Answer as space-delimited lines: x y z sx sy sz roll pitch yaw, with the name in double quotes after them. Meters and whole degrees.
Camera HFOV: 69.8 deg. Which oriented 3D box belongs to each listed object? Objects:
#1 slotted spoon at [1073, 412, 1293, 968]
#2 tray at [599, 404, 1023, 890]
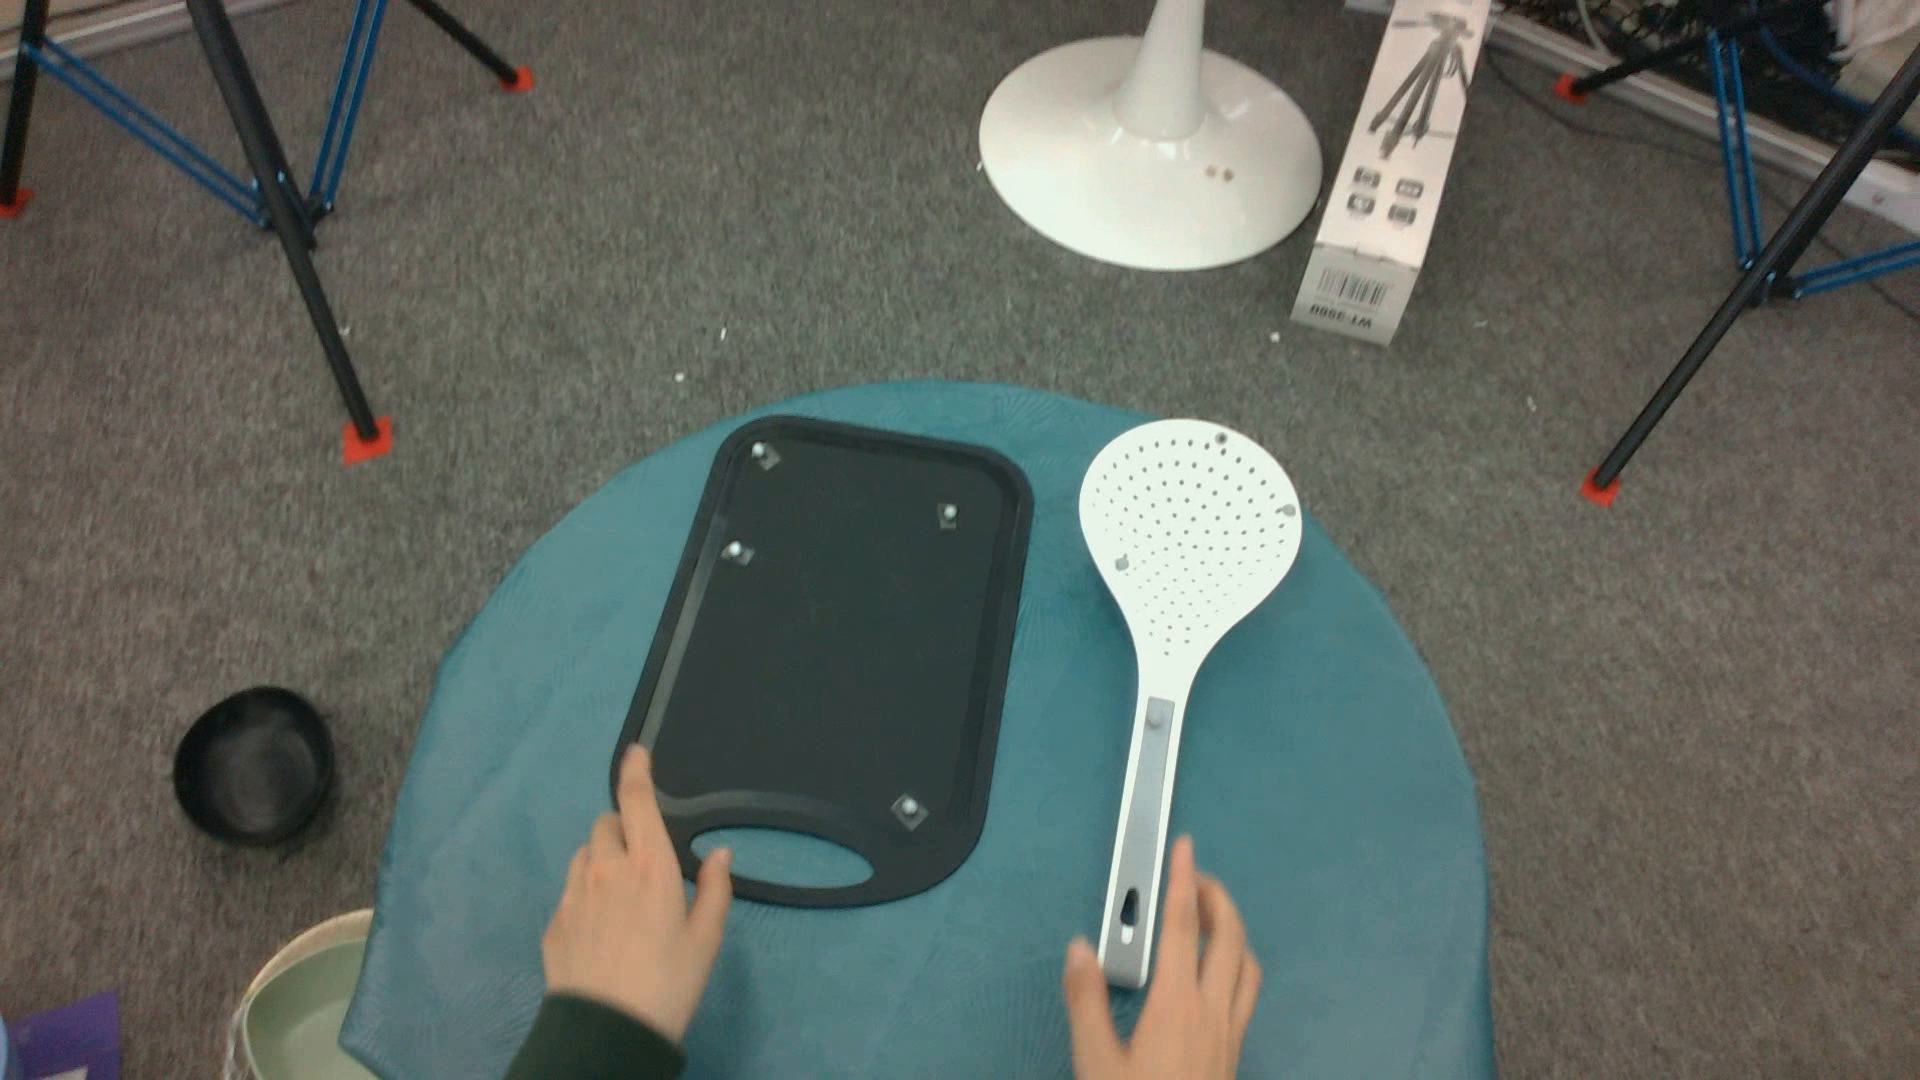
0.114 0.071 0.795 0.136 0.045 0.351 11 55 5 "slotted spoon"
-0.080 0.050 0.815 0.211 0.010 0.327 9 54 2 "tray"
